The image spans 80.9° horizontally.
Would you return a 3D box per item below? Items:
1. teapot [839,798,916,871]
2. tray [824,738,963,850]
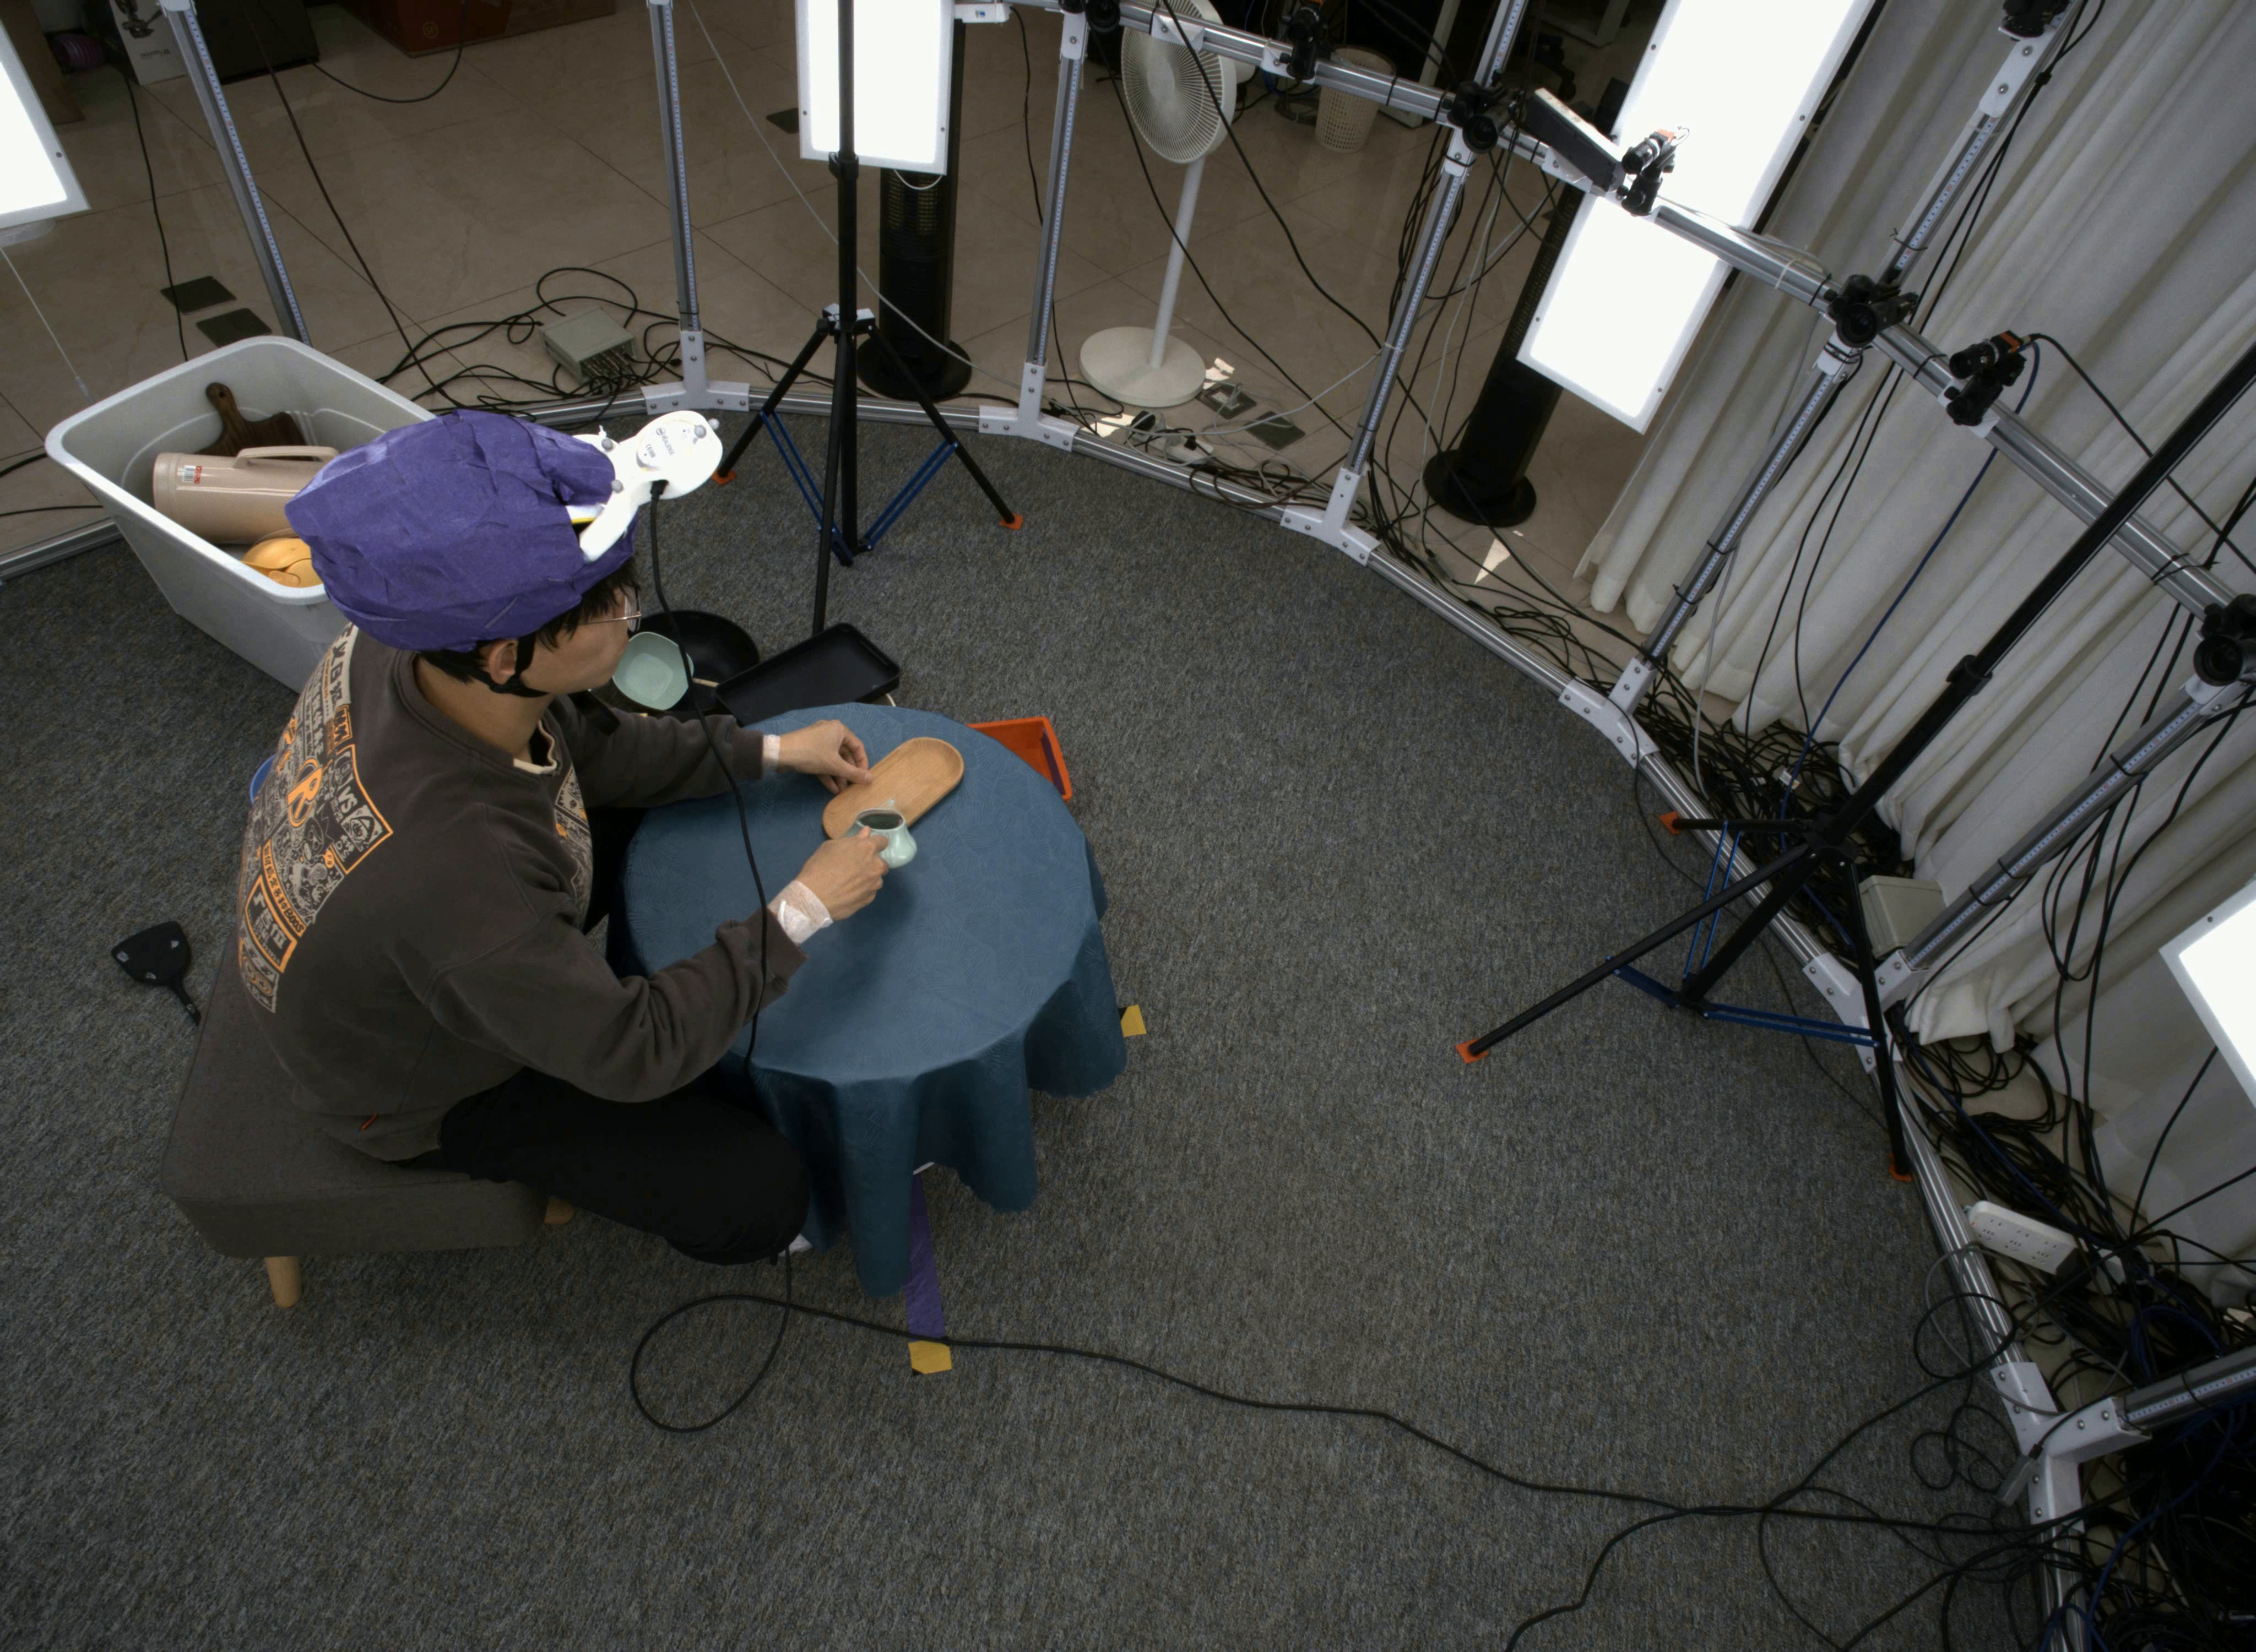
[{"bbox_3d":[-0.316,0.017,1.644,0.096,0.063,0.134,10,25,-5],"label":"teapot"},{"bbox_3d":[-0.319,-0.042,1.783,0.099,0.021,0.231,34,55,13],"label":"tray"}]
